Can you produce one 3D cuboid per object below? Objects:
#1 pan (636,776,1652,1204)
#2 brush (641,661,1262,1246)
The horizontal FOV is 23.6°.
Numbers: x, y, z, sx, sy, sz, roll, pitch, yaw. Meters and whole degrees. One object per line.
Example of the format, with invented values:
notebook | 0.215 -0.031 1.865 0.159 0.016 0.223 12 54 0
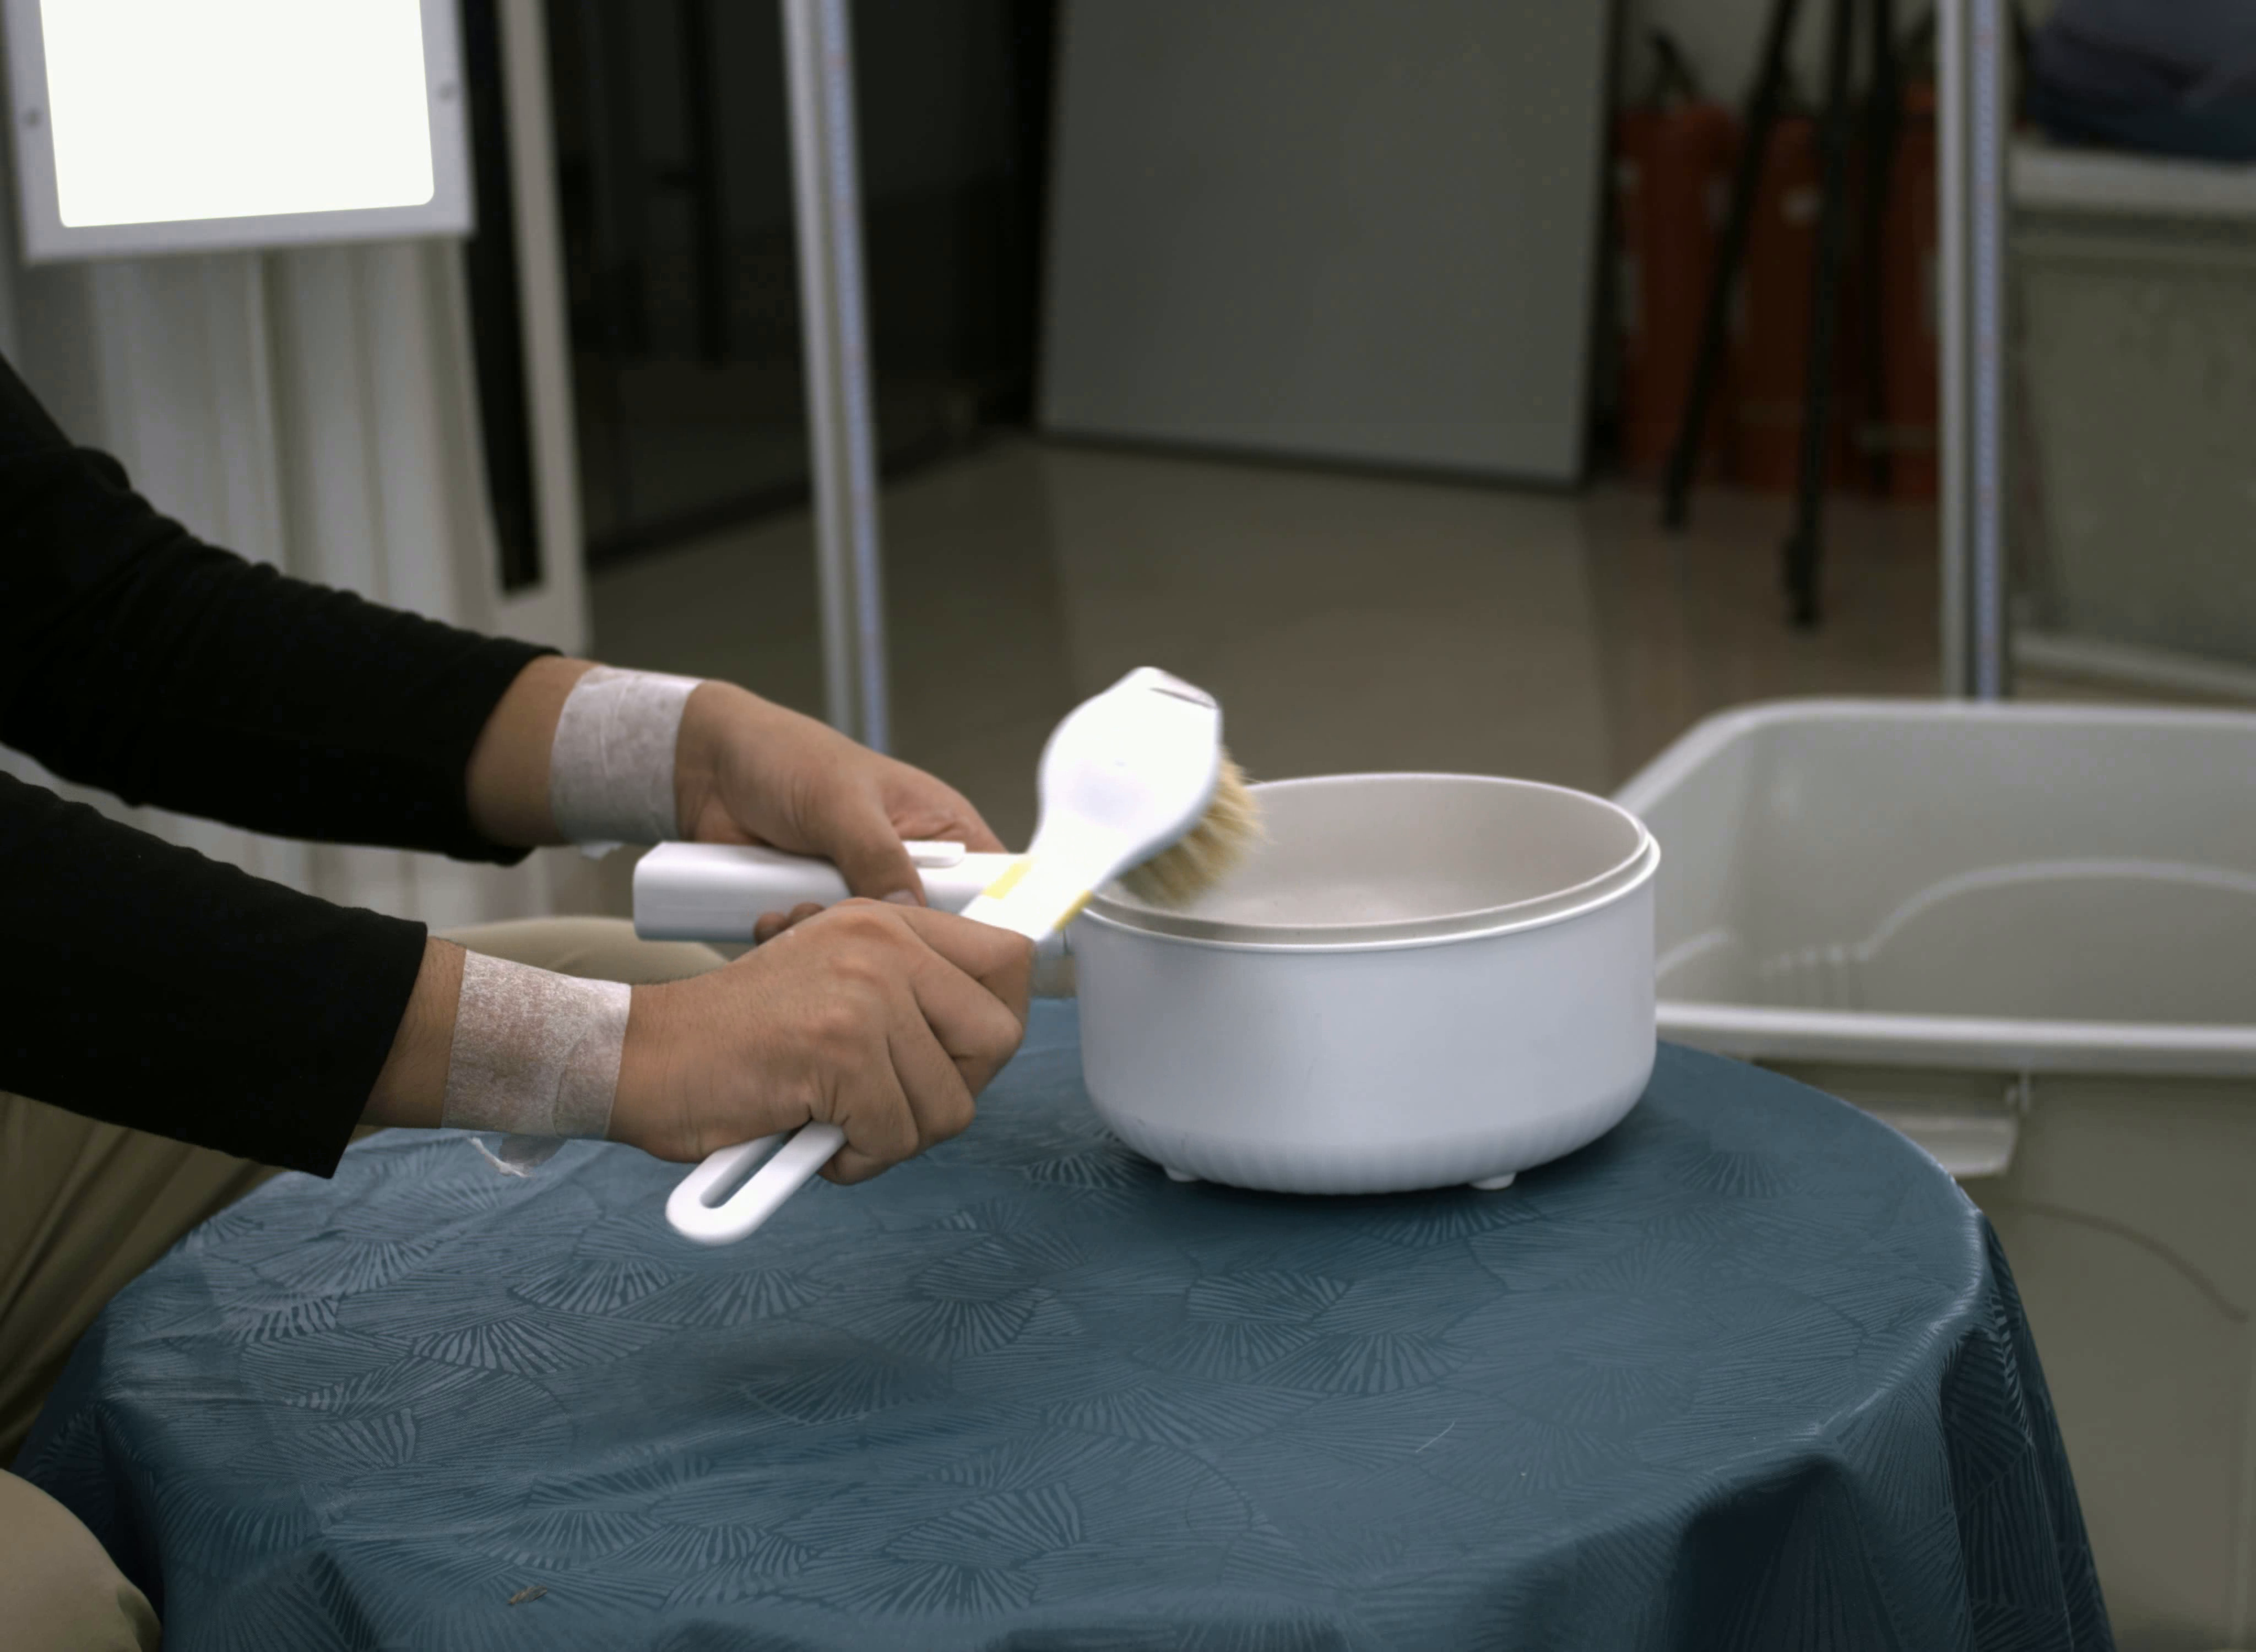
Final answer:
pan | 0.005 0.057 1.825 0.353 0.103 0.199 -1 15 17
brush | -0.054 0.051 1.643 0.069 0.056 0.264 19 54 36
